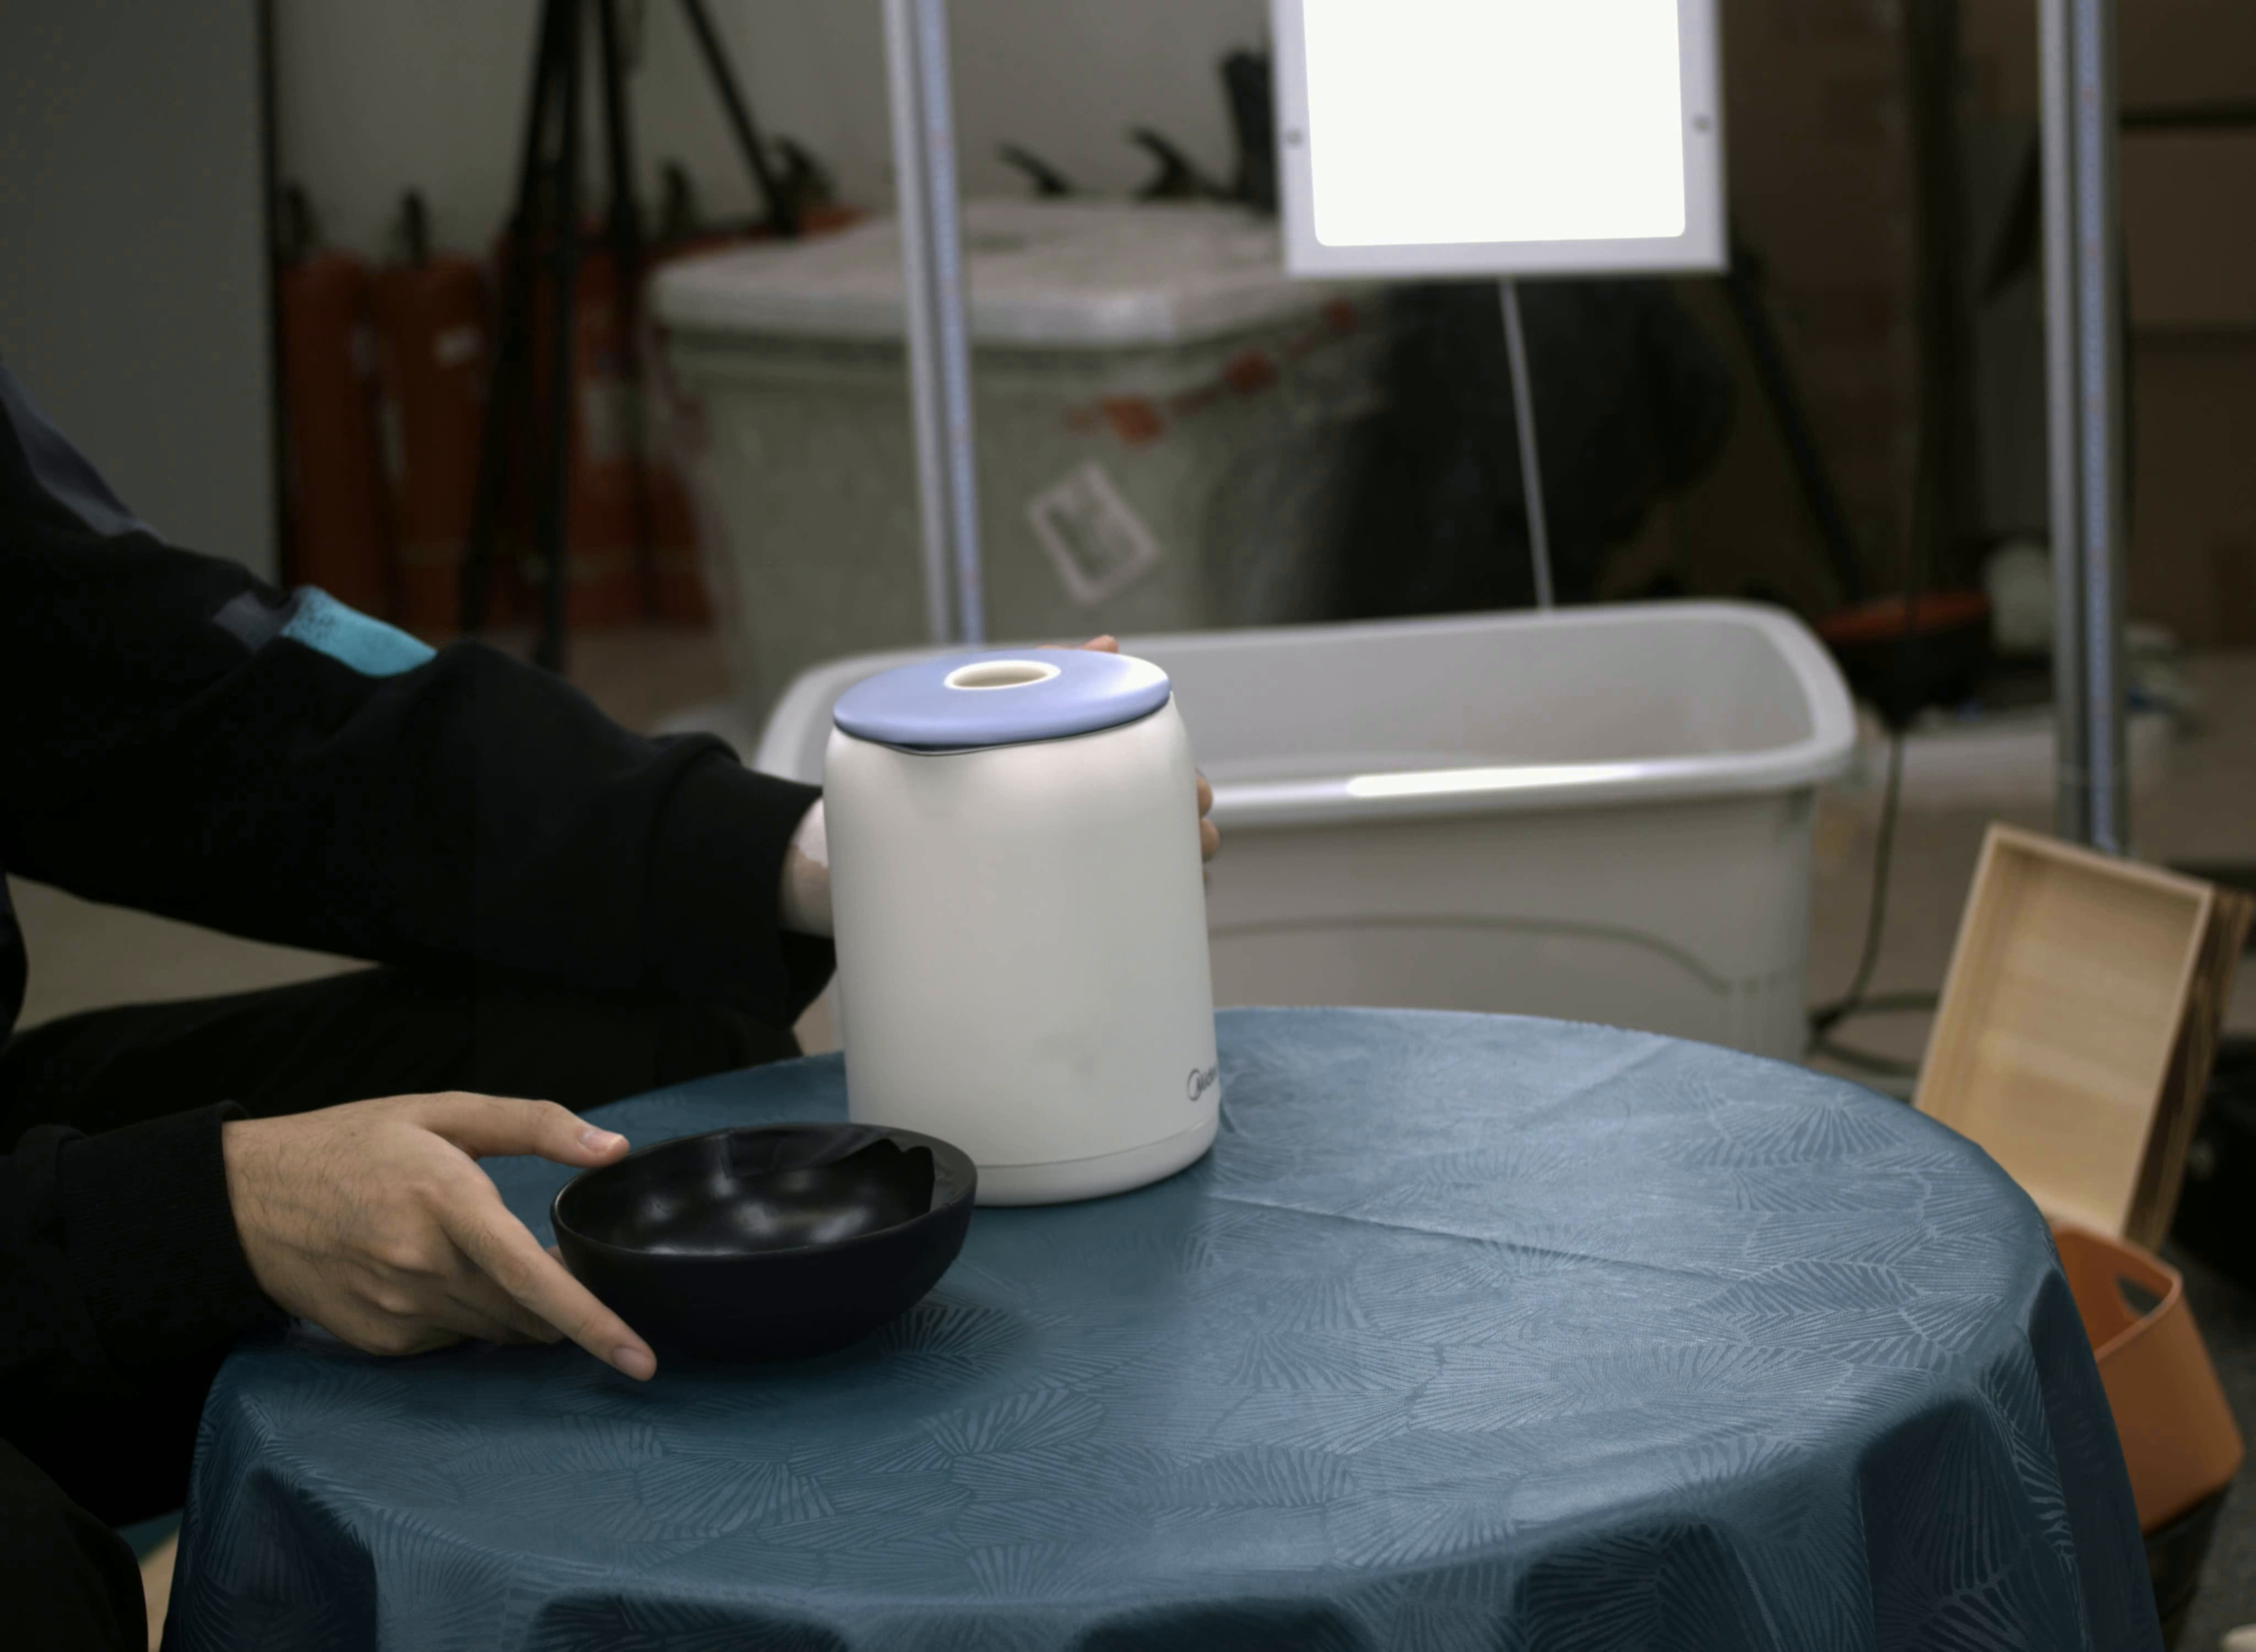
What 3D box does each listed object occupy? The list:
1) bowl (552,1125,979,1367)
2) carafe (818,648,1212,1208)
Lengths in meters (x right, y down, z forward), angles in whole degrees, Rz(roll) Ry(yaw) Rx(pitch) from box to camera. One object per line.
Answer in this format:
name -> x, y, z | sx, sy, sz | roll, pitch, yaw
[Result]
bowl -> -0.114, 0.140, 1.781 | 0.140, 0.050, 0.140 | -7, 13, 0
carafe -> -0.031, 0.029, 1.945 | 0.134, 0.183, 0.188 | 2, 13, 20
